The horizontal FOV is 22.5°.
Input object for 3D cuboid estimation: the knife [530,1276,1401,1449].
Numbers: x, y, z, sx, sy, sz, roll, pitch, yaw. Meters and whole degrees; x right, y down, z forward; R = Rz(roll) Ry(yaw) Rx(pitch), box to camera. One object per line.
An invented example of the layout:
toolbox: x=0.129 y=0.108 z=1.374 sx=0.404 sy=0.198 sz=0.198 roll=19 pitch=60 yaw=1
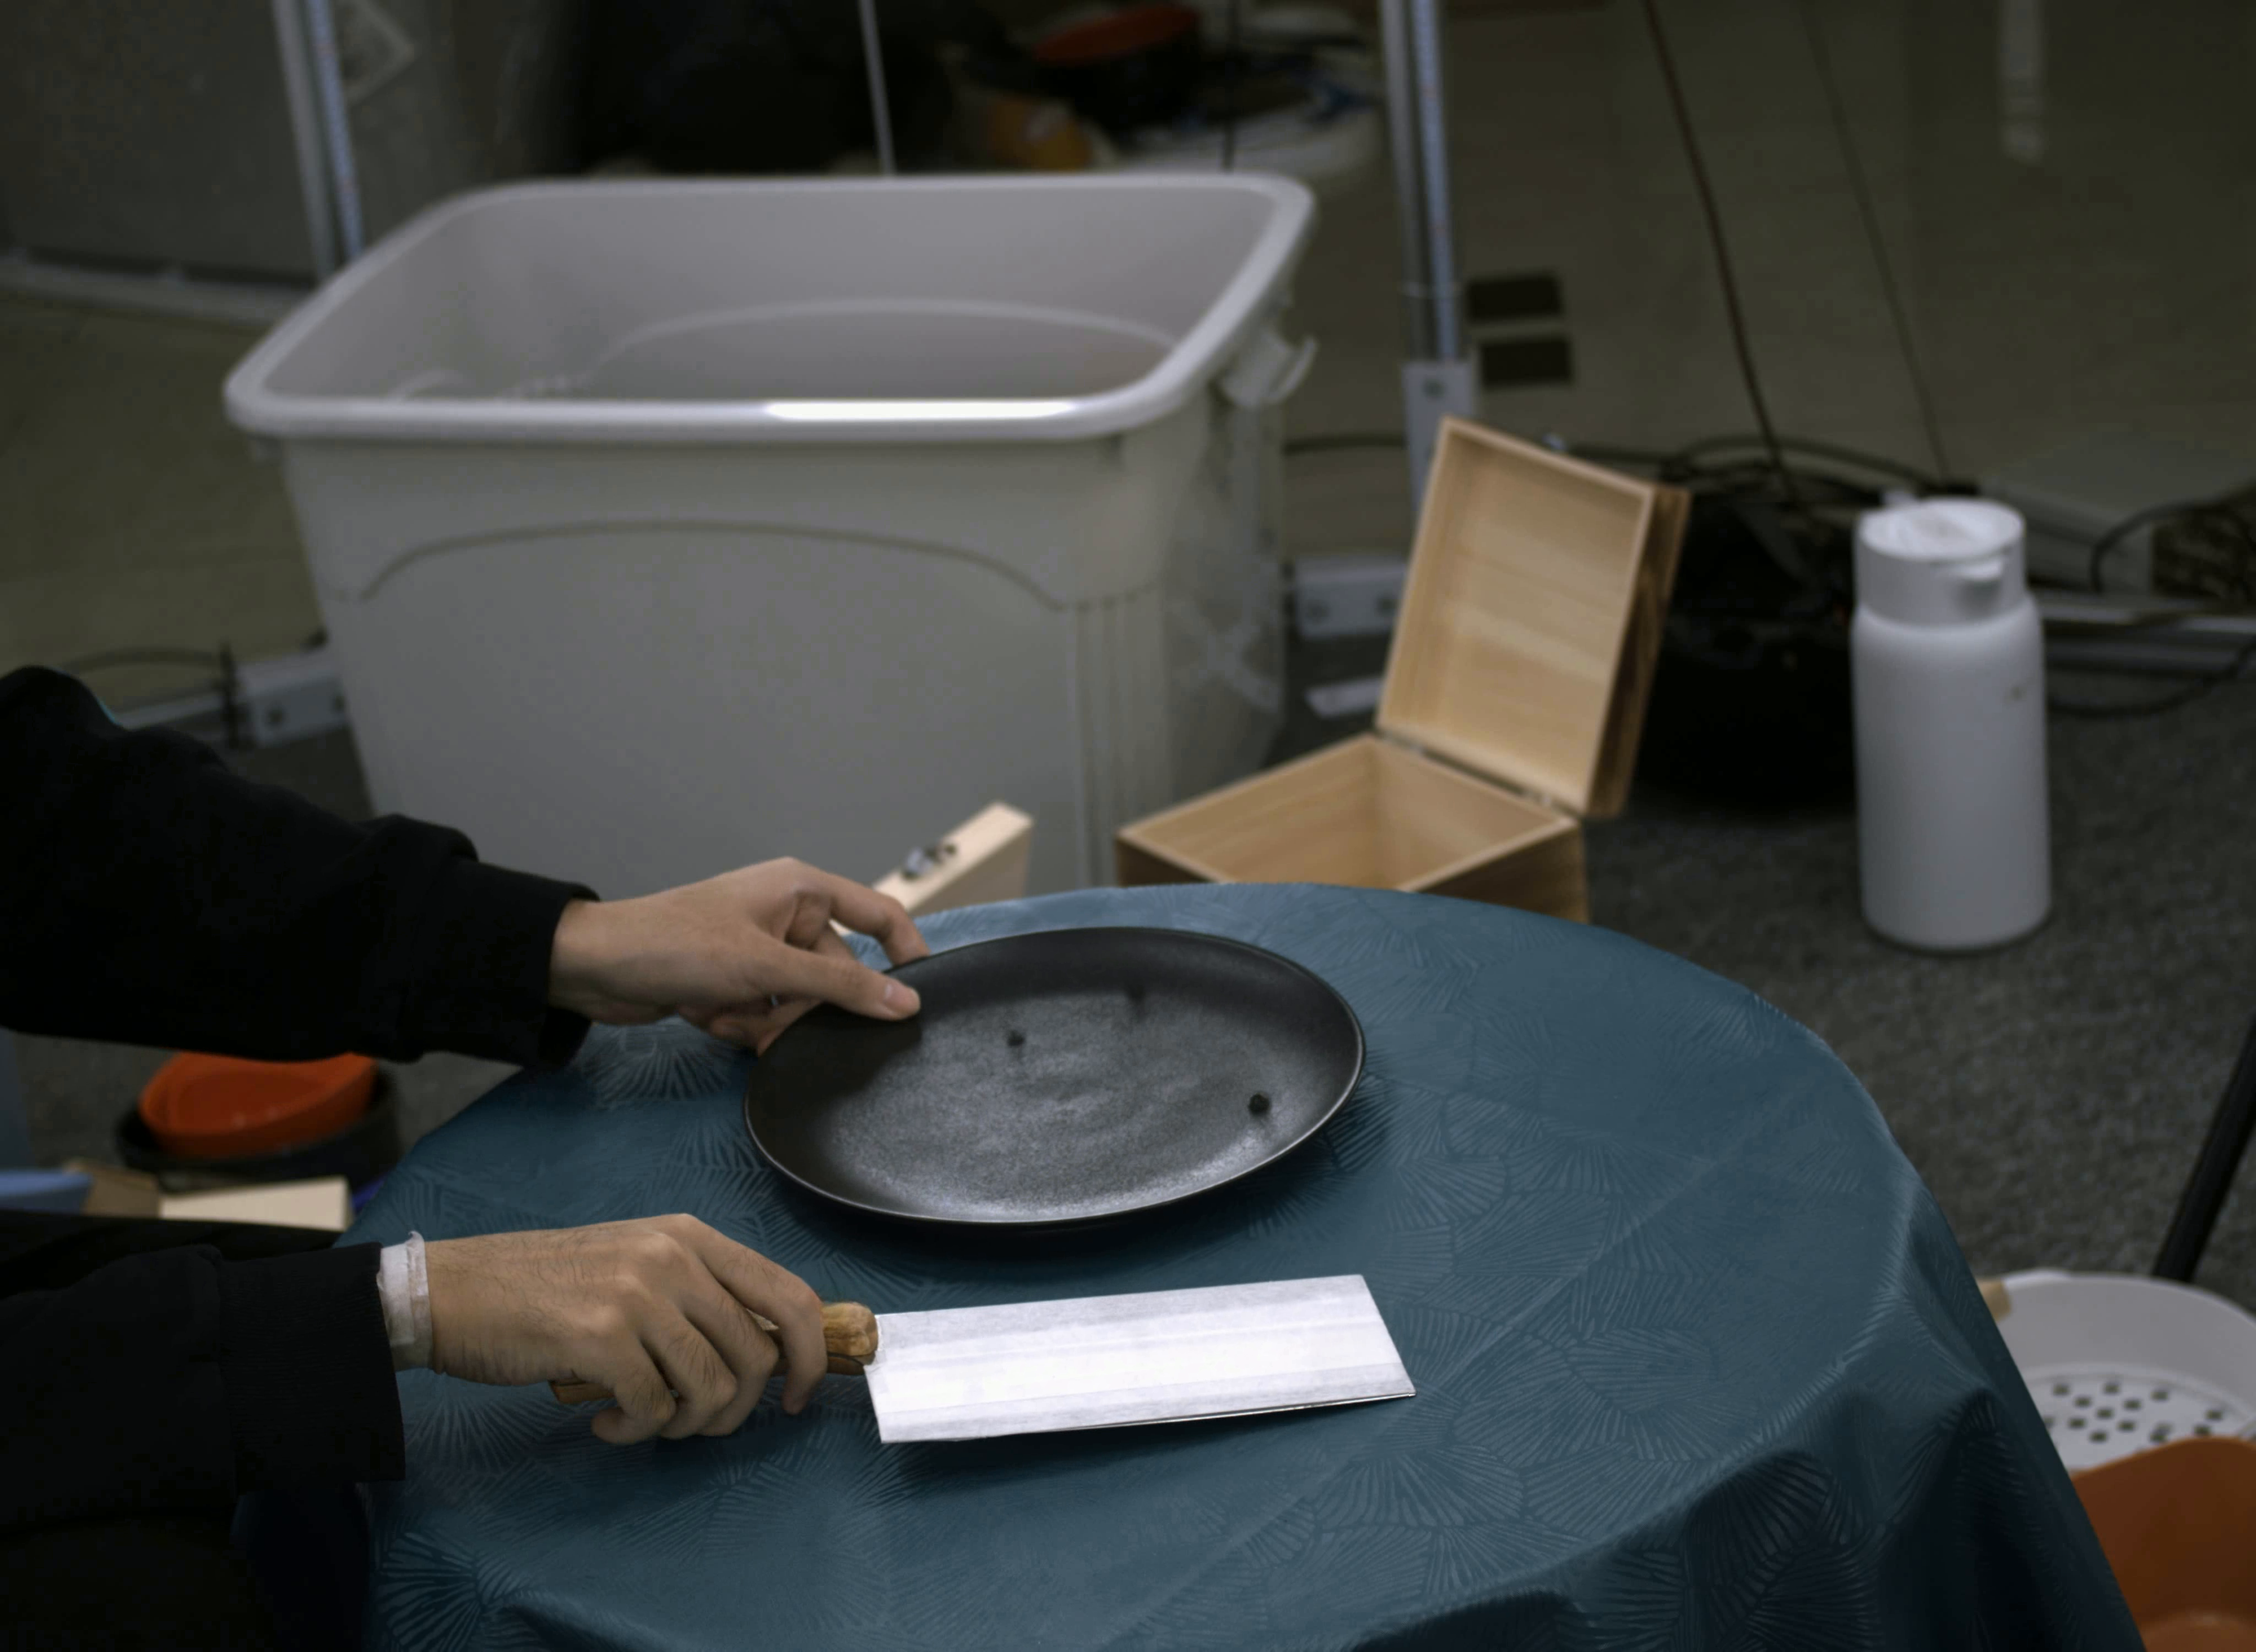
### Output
knife: x=-0.056 y=0.192 z=2.008 sx=0.305 sy=0.021 sz=0.091 roll=-4 pitch=25 yaw=-9

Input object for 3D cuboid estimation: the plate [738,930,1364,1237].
plate: x=-0.029 y=0.104 z=2.197 sx=0.244 sy=0.024 sz=0.241 roll=-5 pitch=26 yaw=2
